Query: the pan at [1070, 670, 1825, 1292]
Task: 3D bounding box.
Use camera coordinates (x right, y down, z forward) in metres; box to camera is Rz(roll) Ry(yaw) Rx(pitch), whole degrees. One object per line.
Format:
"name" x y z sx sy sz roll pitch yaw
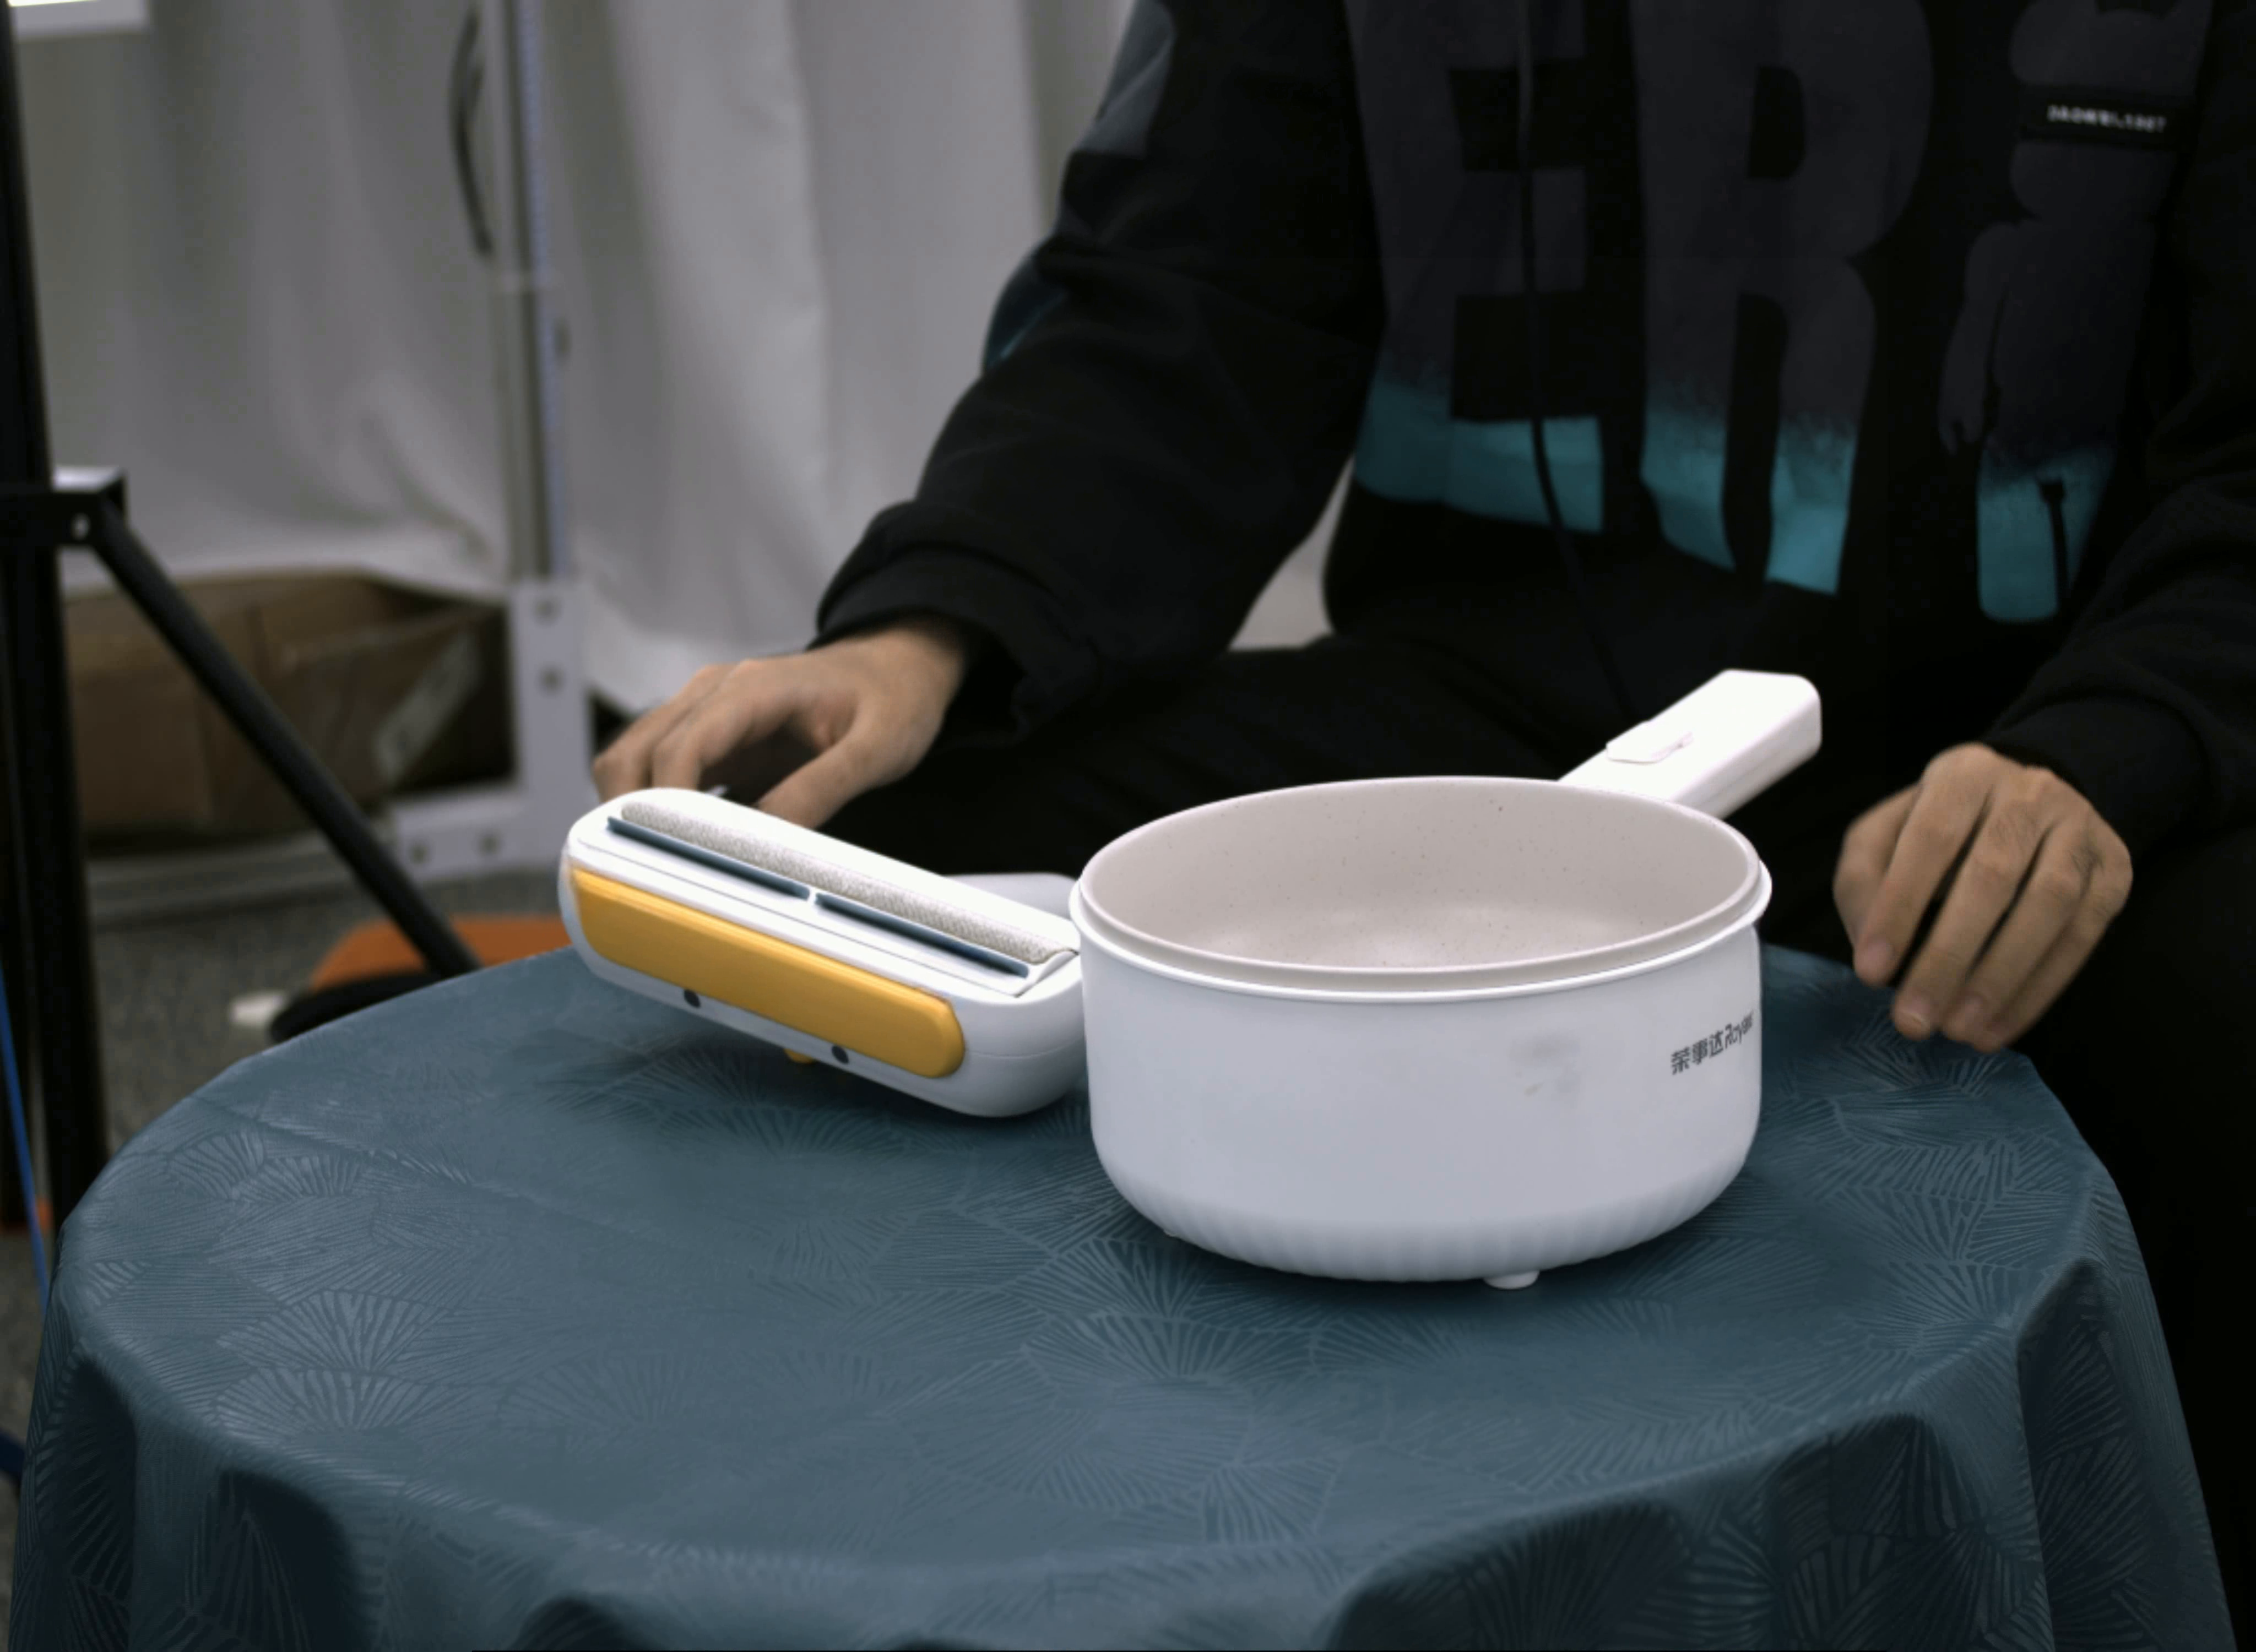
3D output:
"pan" 0.122 0.041 1.587 0.205 0.102 0.348 6 18 30

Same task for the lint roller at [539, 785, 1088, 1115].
"lint roller" -0.065 0.031 1.715 0.197 0.074 0.188 15 22 35
